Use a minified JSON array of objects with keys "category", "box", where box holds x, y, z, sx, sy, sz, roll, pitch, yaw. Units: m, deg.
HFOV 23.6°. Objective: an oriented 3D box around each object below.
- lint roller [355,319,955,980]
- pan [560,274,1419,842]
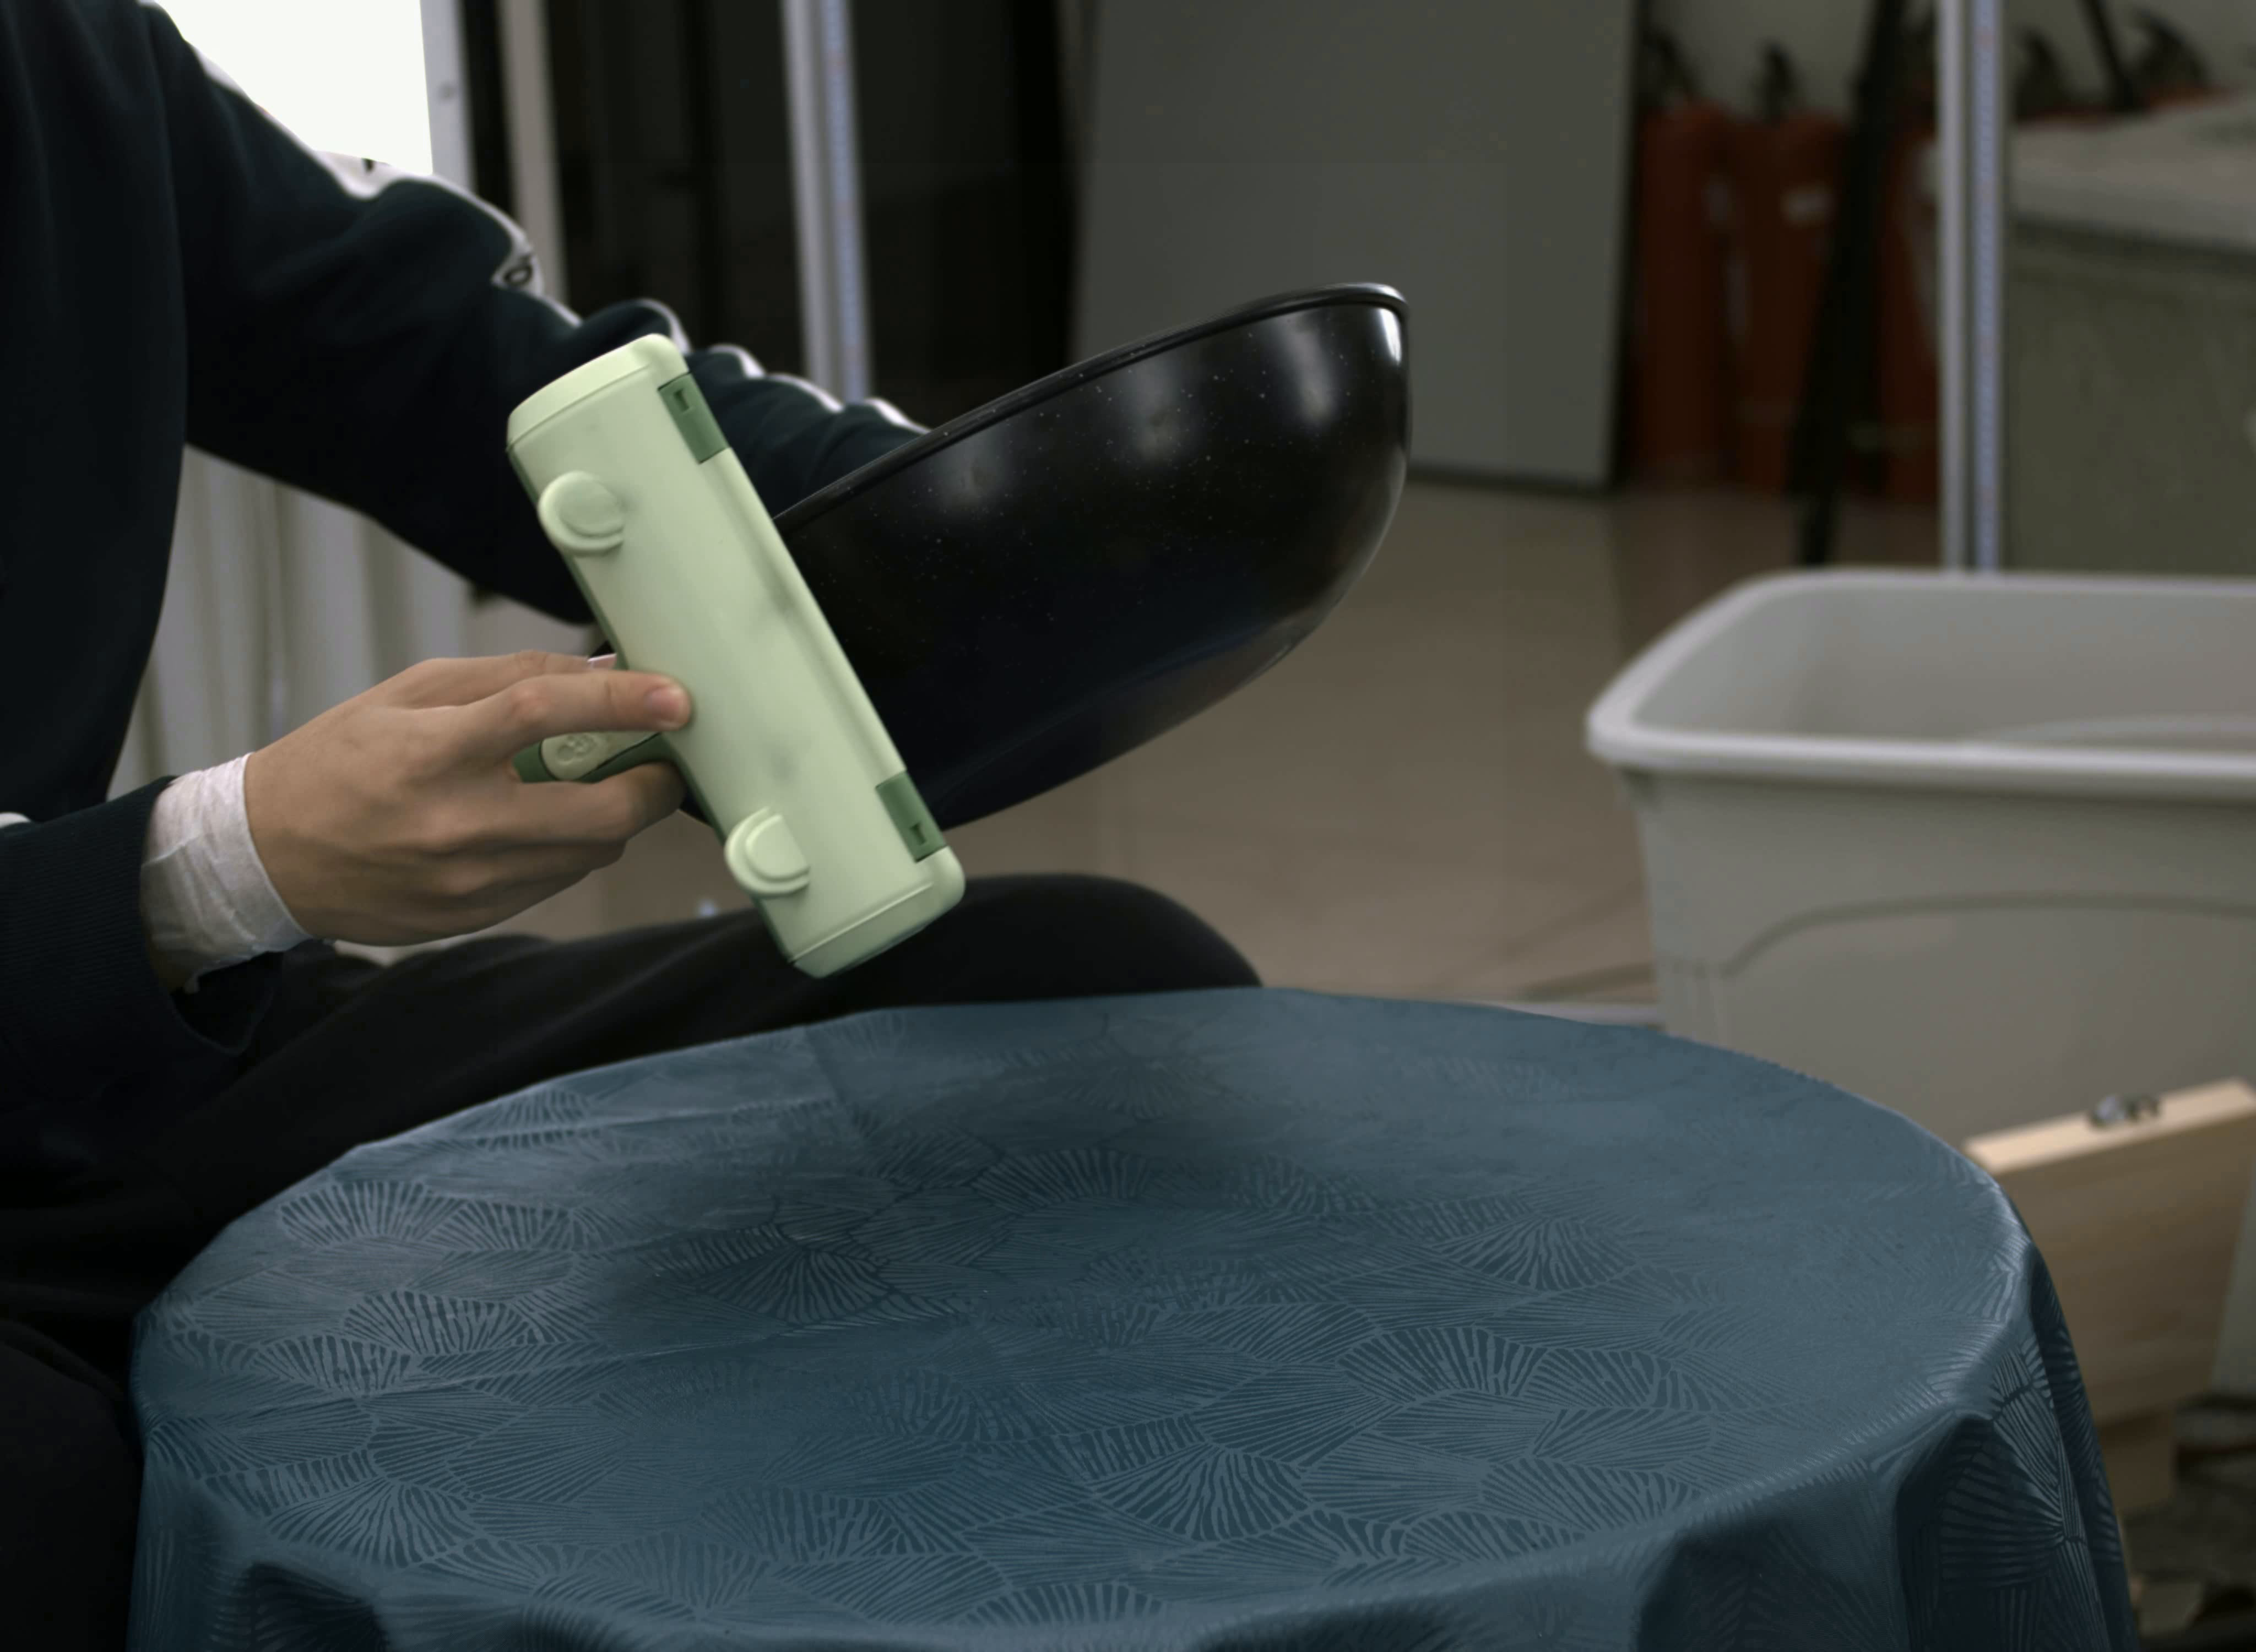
[{"category":"lint roller","box":[-0.169,-0.024,1.625,0.183,0.200,0.081,-29,-1,18]},{"category":"pan","box":[-0.019,-0.073,1.838,0.309,0.113,0.474,-27,-7,8]}]
